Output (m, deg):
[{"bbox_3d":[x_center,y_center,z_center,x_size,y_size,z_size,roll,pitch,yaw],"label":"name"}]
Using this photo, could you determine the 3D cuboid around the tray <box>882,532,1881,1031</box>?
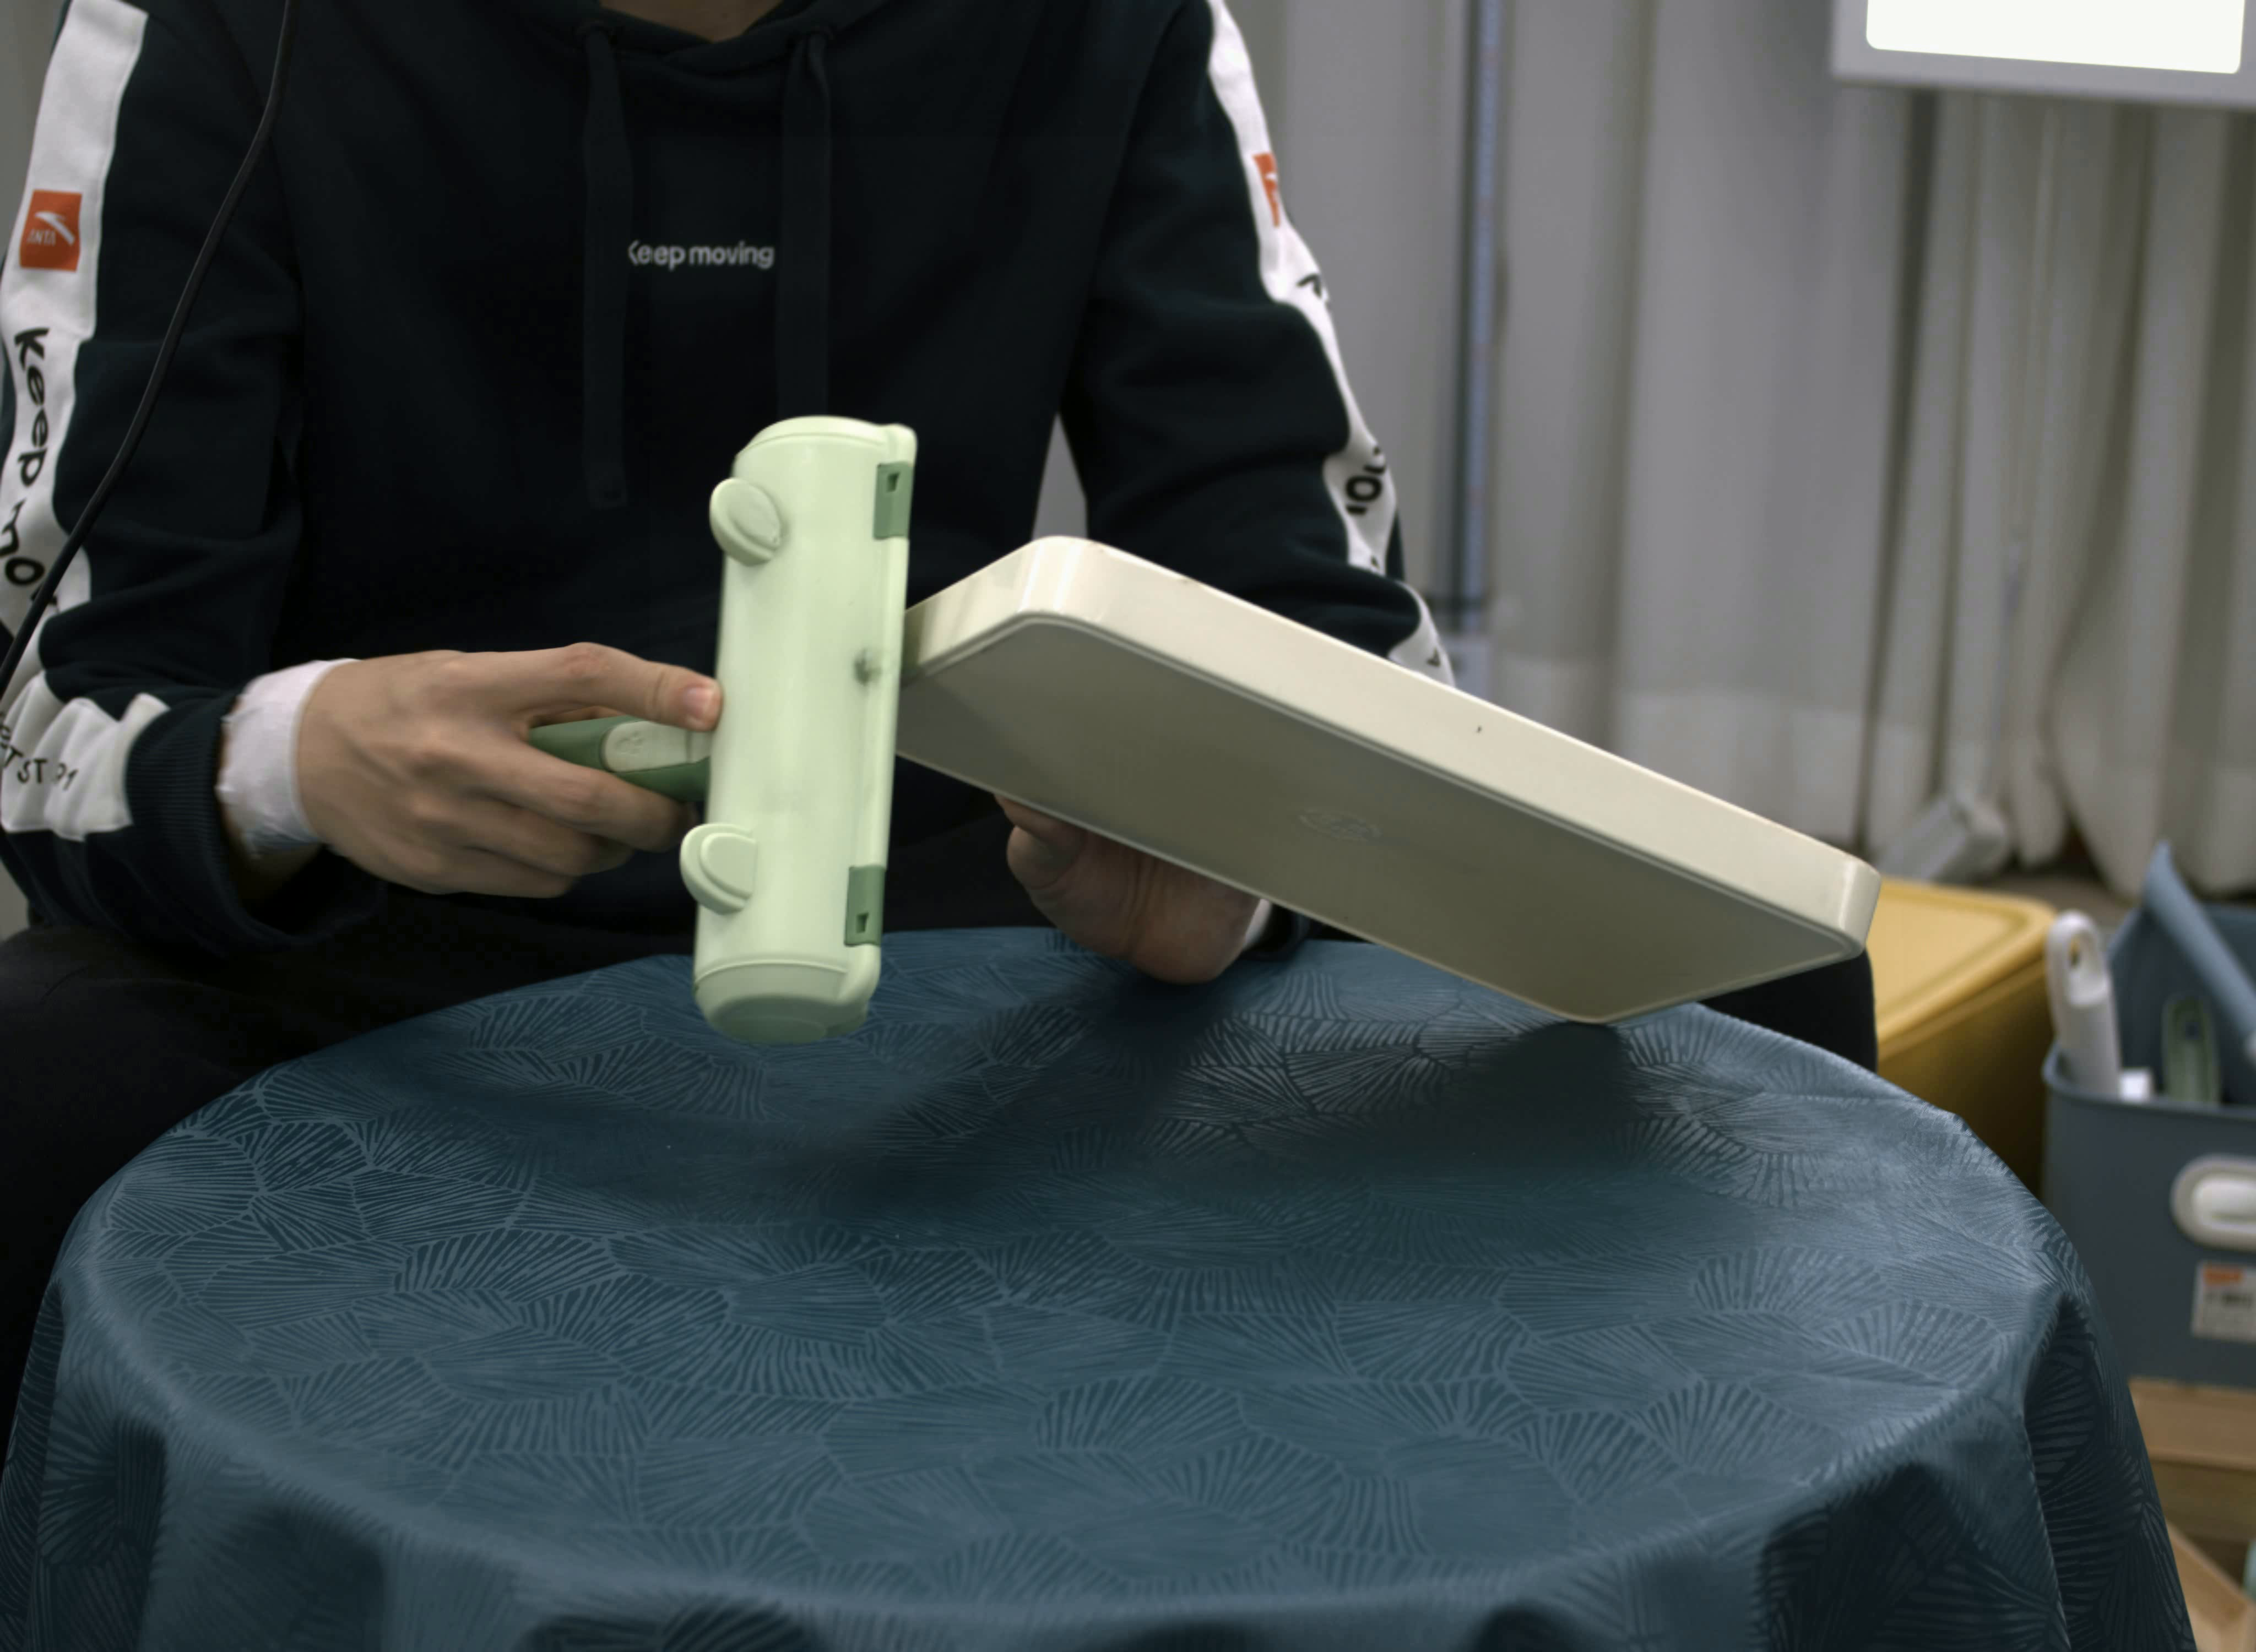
[{"bbox_3d":[0.069,-0.008,1.660,0.302,0.027,0.191,22,-19,-20],"label":"tray"}]

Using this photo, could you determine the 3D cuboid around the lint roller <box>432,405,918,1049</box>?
[{"bbox_3d":[-0.151,-0.028,1.619,0.182,0.198,0.083,-7,-24,23],"label":"lint roller"}]
